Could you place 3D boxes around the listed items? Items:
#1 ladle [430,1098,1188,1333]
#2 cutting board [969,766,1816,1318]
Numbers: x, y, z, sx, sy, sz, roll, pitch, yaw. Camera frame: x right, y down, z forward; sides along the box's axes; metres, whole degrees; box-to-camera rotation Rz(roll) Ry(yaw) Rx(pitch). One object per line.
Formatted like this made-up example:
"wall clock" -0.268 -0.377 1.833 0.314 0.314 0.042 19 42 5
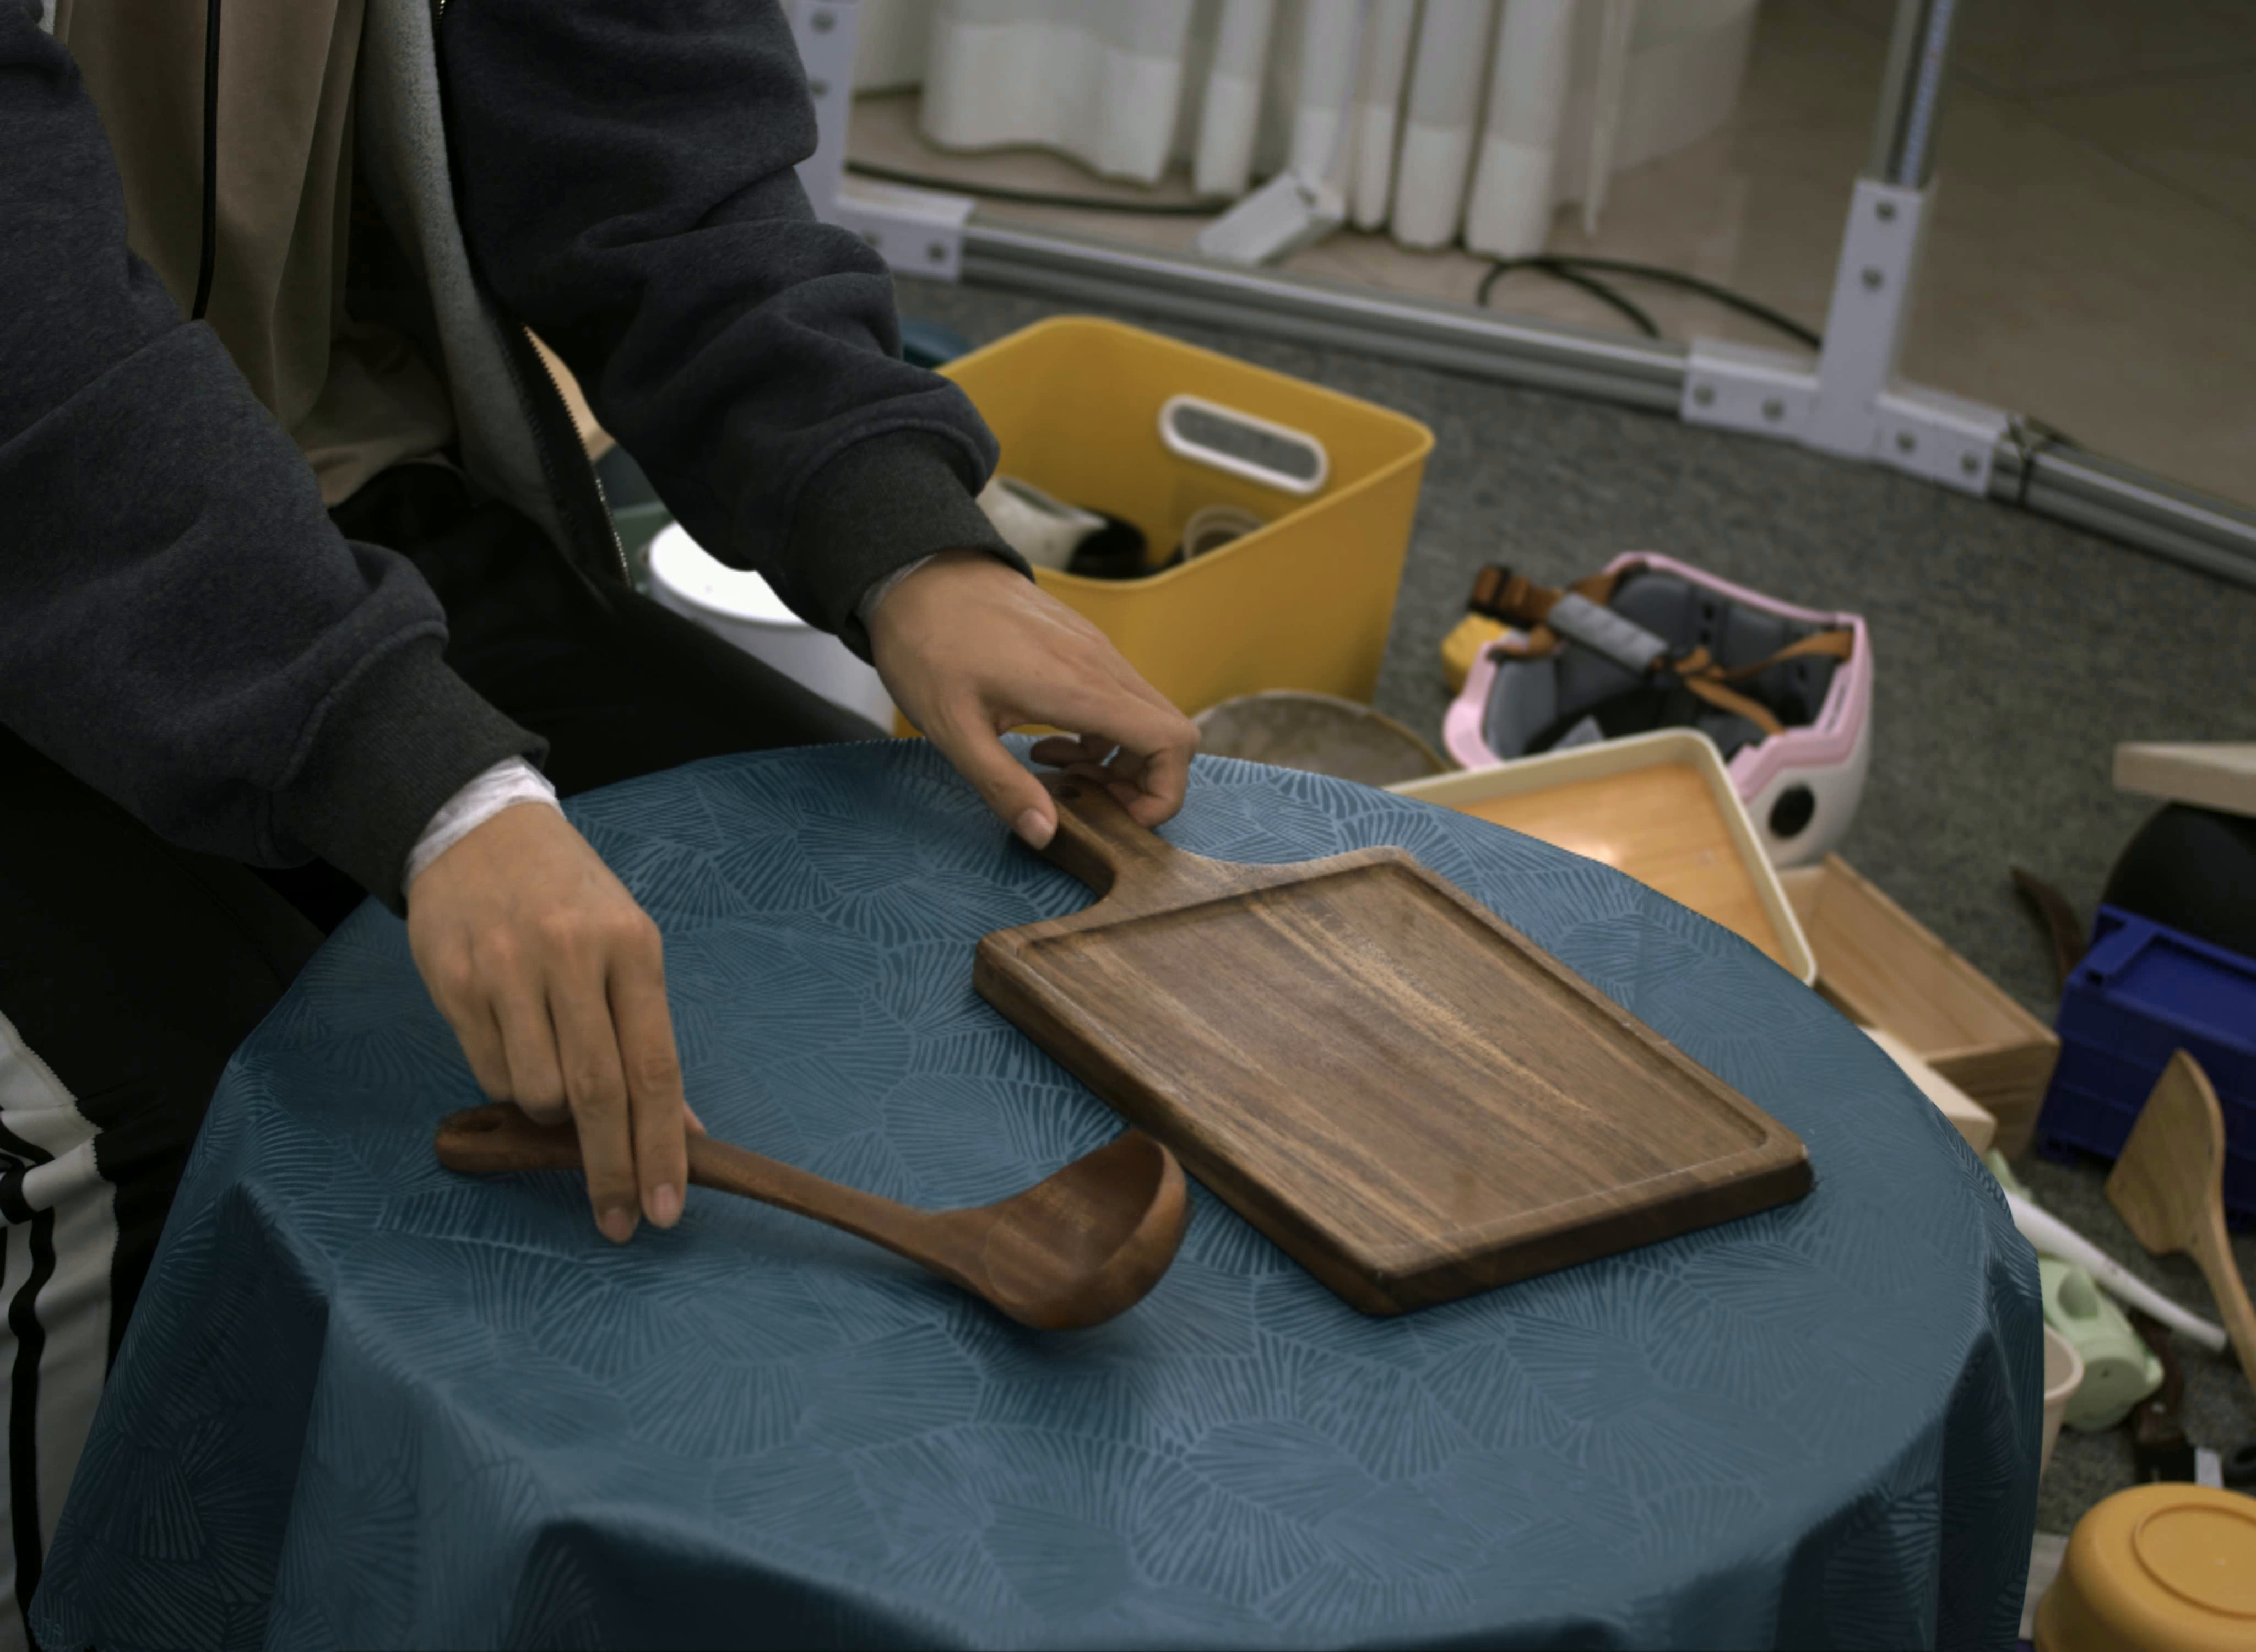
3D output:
"ladle" -0.107 0.111 1.732 0.260 0.065 0.077 13 37 13
"cutting board" 0.063 0.062 1.911 0.200 0.023 0.355 -11 32 -33
